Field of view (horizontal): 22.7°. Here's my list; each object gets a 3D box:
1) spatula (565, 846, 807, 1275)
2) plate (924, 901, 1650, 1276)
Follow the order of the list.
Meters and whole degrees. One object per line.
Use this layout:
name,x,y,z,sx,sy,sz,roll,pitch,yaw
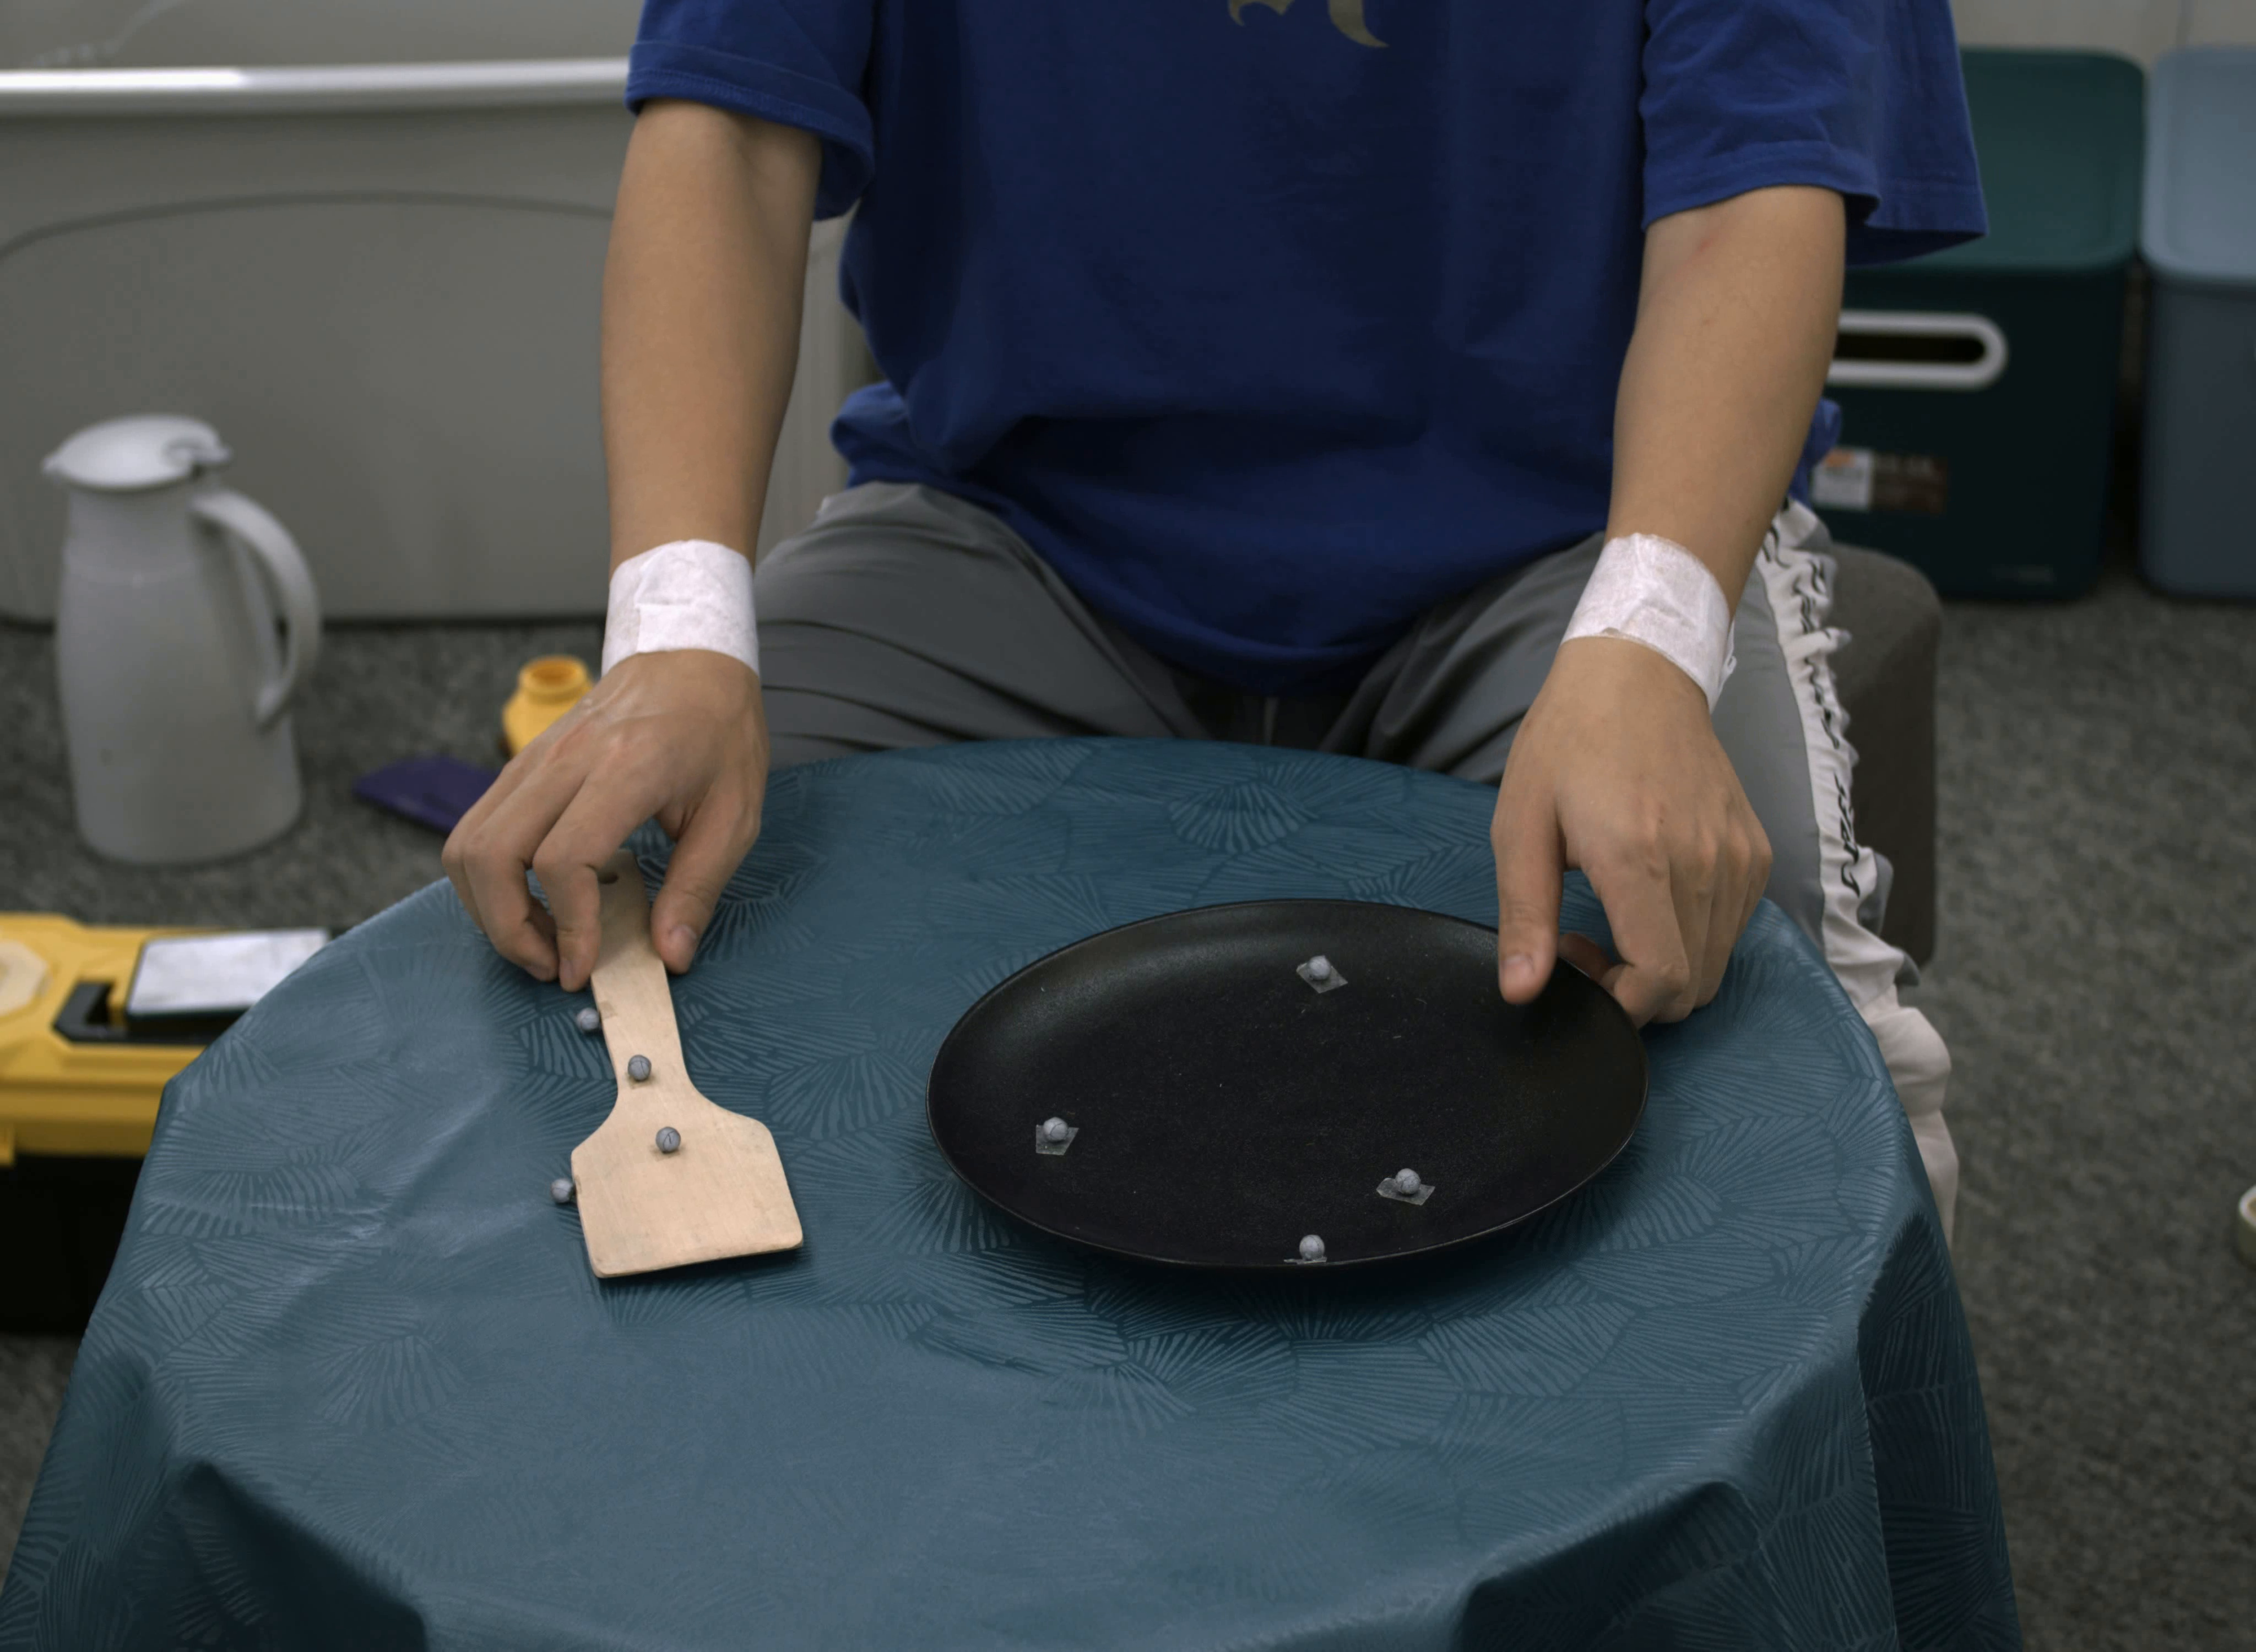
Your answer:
spatula,-0.168,0.077,1.953,0.072,0.010,0.296,-9,28,-9
plate,0.053,0.092,1.887,0.243,0.023,0.248,-2,27,2
